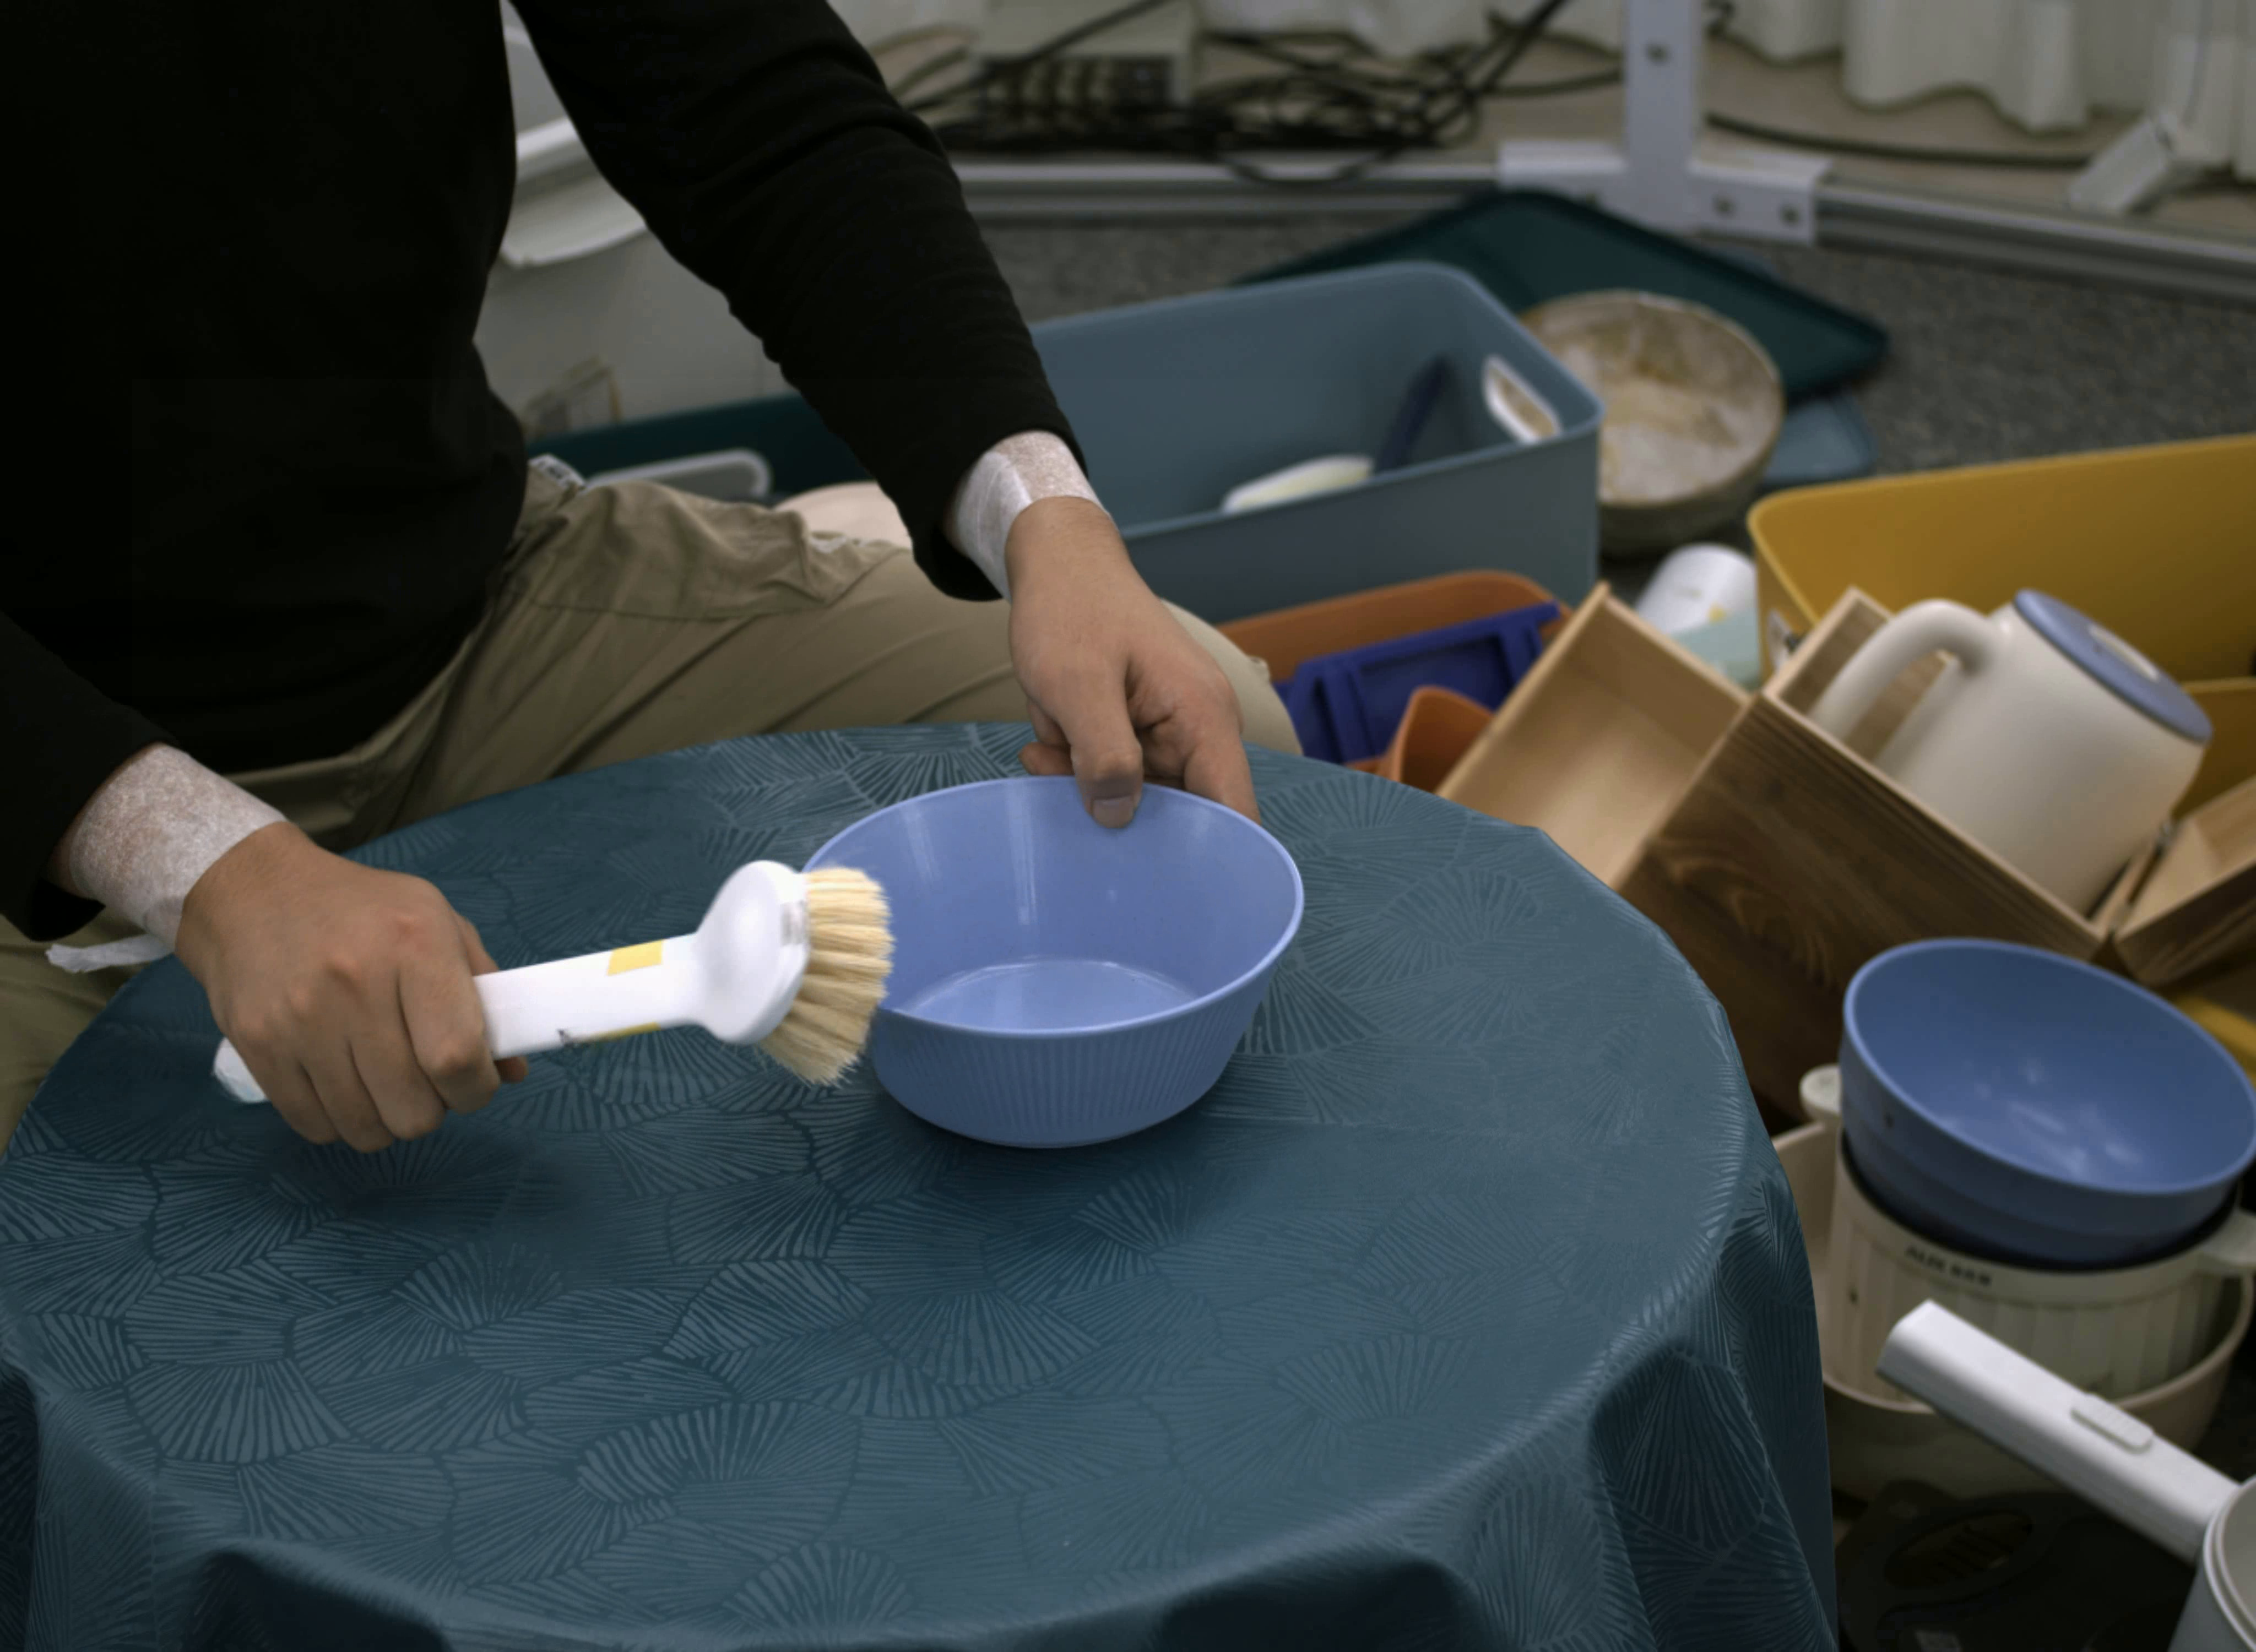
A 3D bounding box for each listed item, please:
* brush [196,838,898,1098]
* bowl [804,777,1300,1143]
[{"bbox_3d":[-0.187,0.059,1.838,0.263,0.056,0.070,-16,54,28],"label":"brush"},{"bbox_3d":[-0.029,0.051,1.918,0.175,0.069,0.179,0,28,0],"label":"bowl"}]
